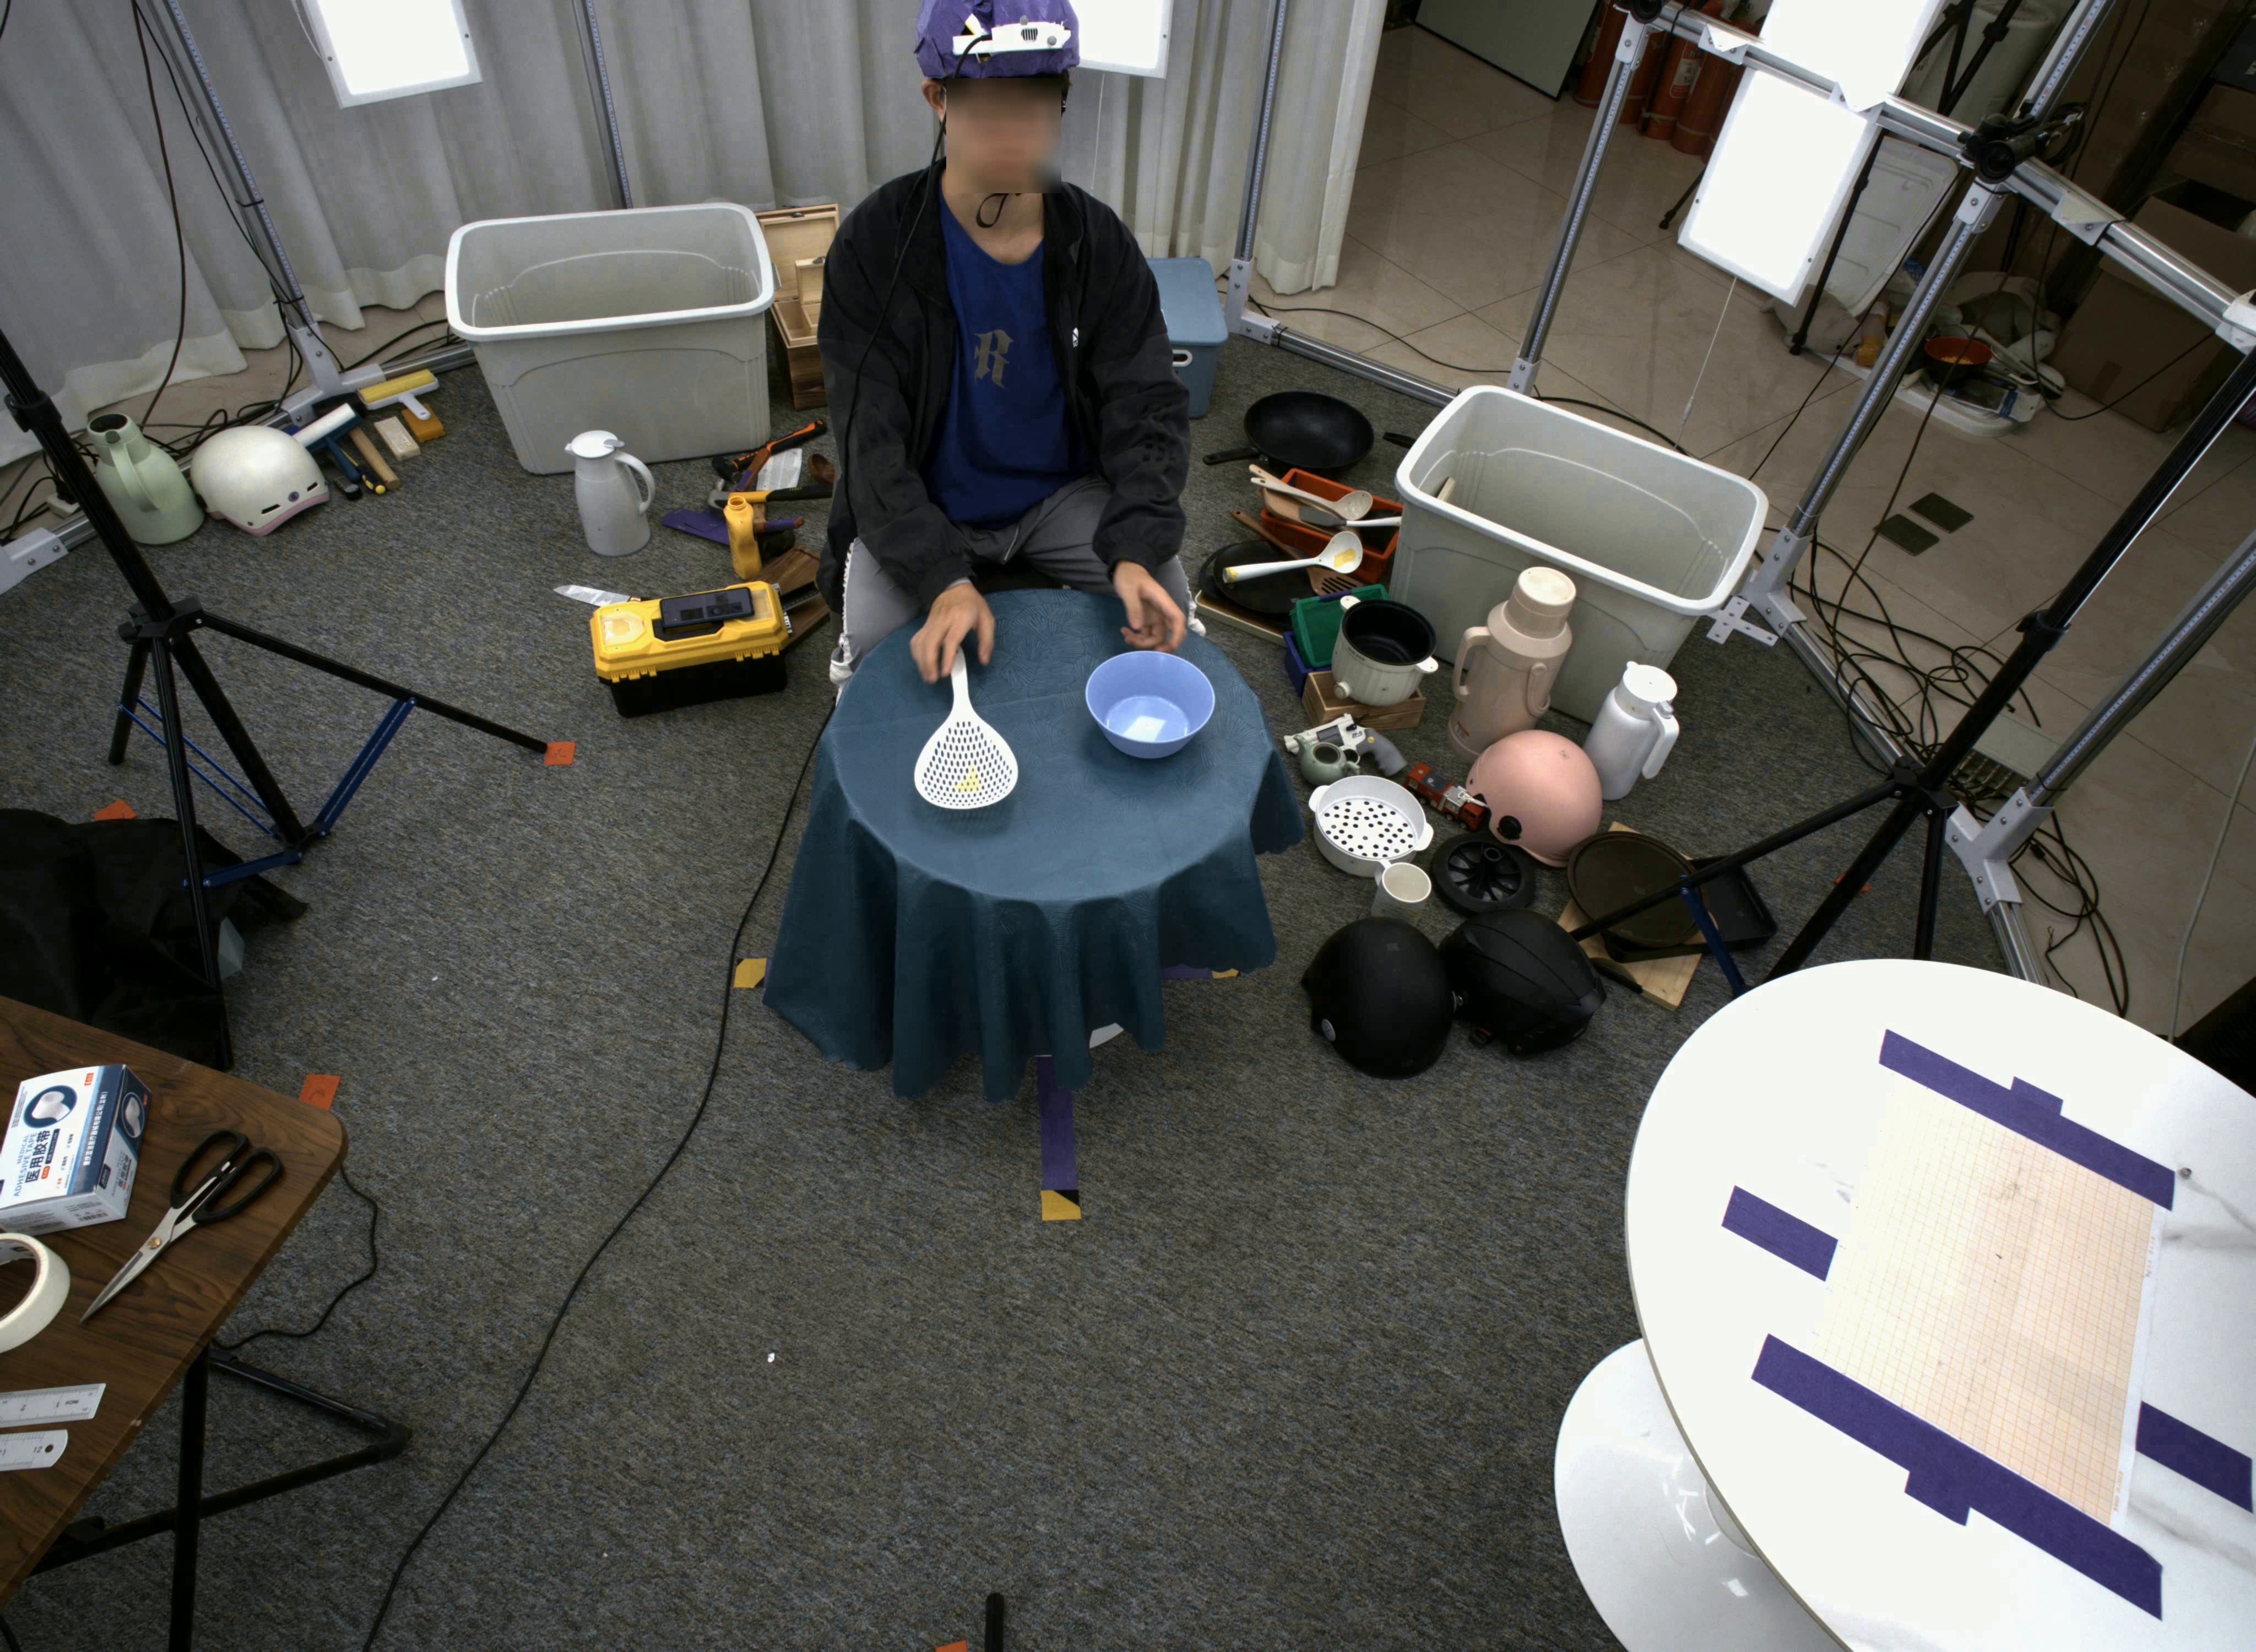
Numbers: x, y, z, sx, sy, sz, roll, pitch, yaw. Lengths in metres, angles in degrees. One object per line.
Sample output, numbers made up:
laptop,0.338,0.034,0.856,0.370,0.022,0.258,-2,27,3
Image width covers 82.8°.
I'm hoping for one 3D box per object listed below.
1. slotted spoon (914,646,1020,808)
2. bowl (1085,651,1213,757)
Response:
slotted spoon,-0.225,-0.146,1.758,0.137,0.049,0.357,-9,50,-3
bowl,0.027,-0.160,1.767,0.176,0.068,0.180,2,49,-2
